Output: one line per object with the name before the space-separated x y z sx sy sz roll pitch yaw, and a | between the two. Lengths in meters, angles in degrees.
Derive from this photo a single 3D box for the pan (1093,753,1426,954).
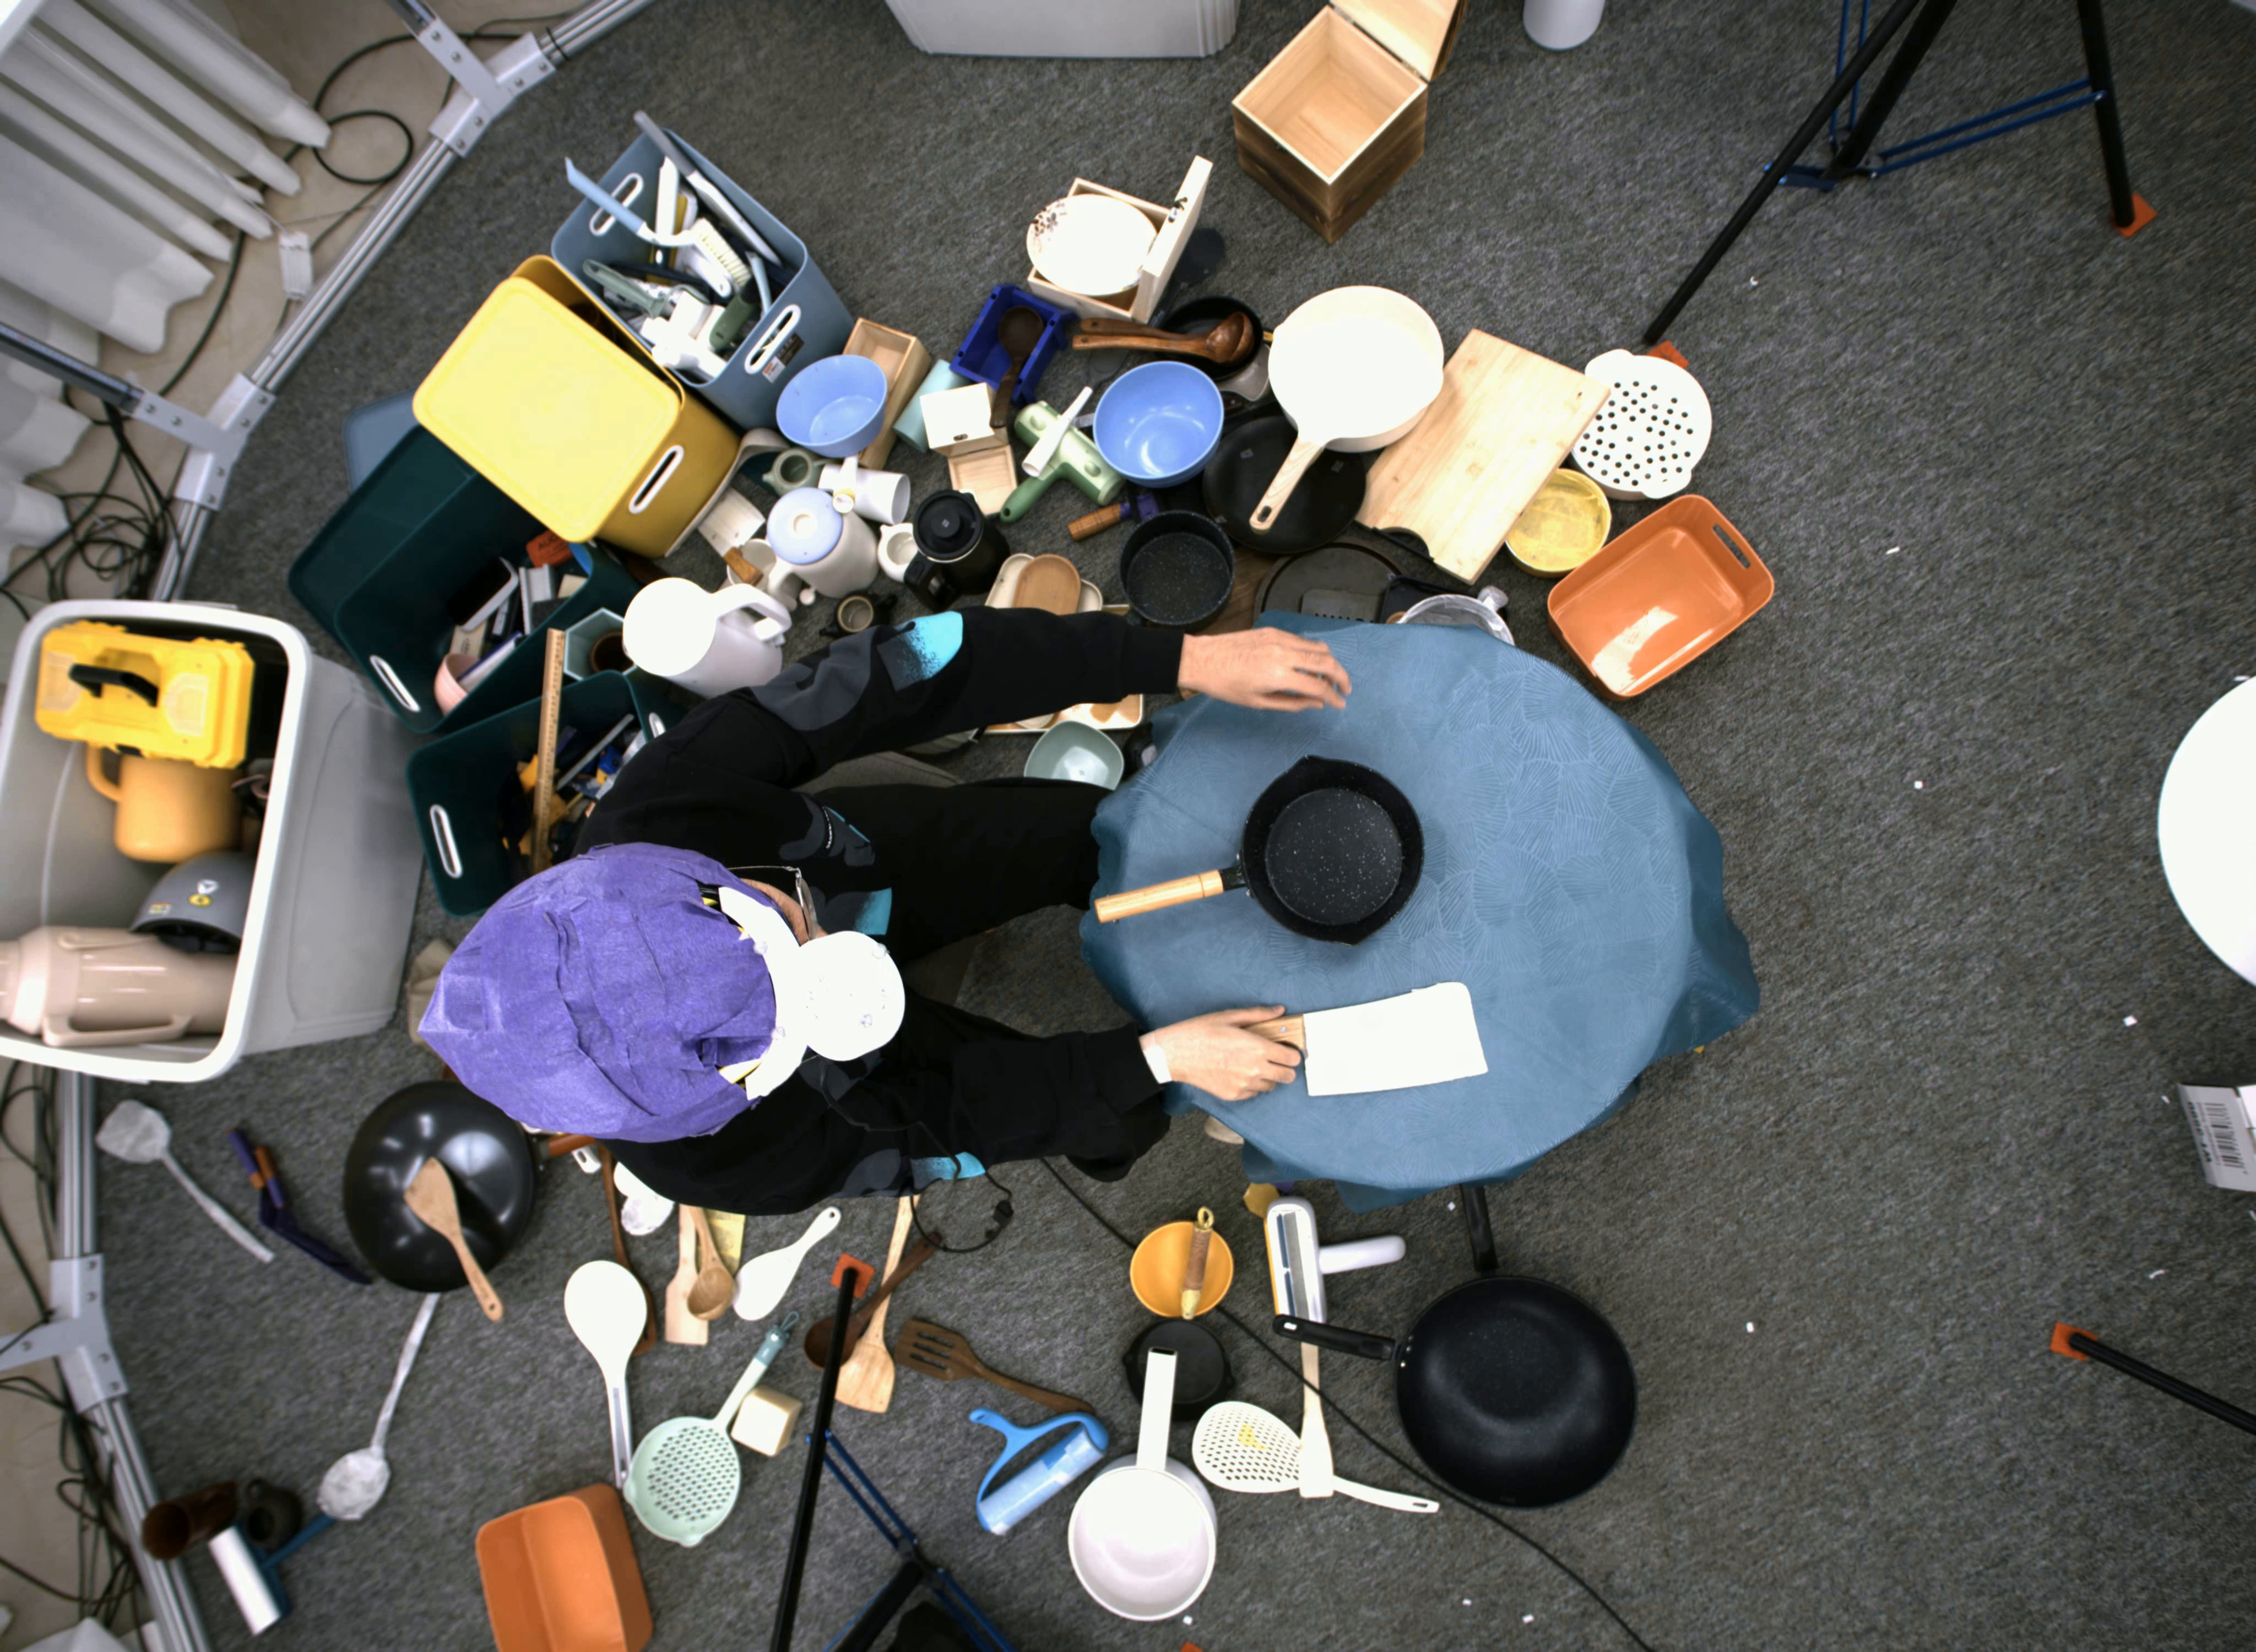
pan | 0.135 0.050 1.431 0.344 0.108 0.206 -18 84 8

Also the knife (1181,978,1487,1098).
knife | 0.213 0.225 1.453 0.316 0.022 0.113 -6 86 7
